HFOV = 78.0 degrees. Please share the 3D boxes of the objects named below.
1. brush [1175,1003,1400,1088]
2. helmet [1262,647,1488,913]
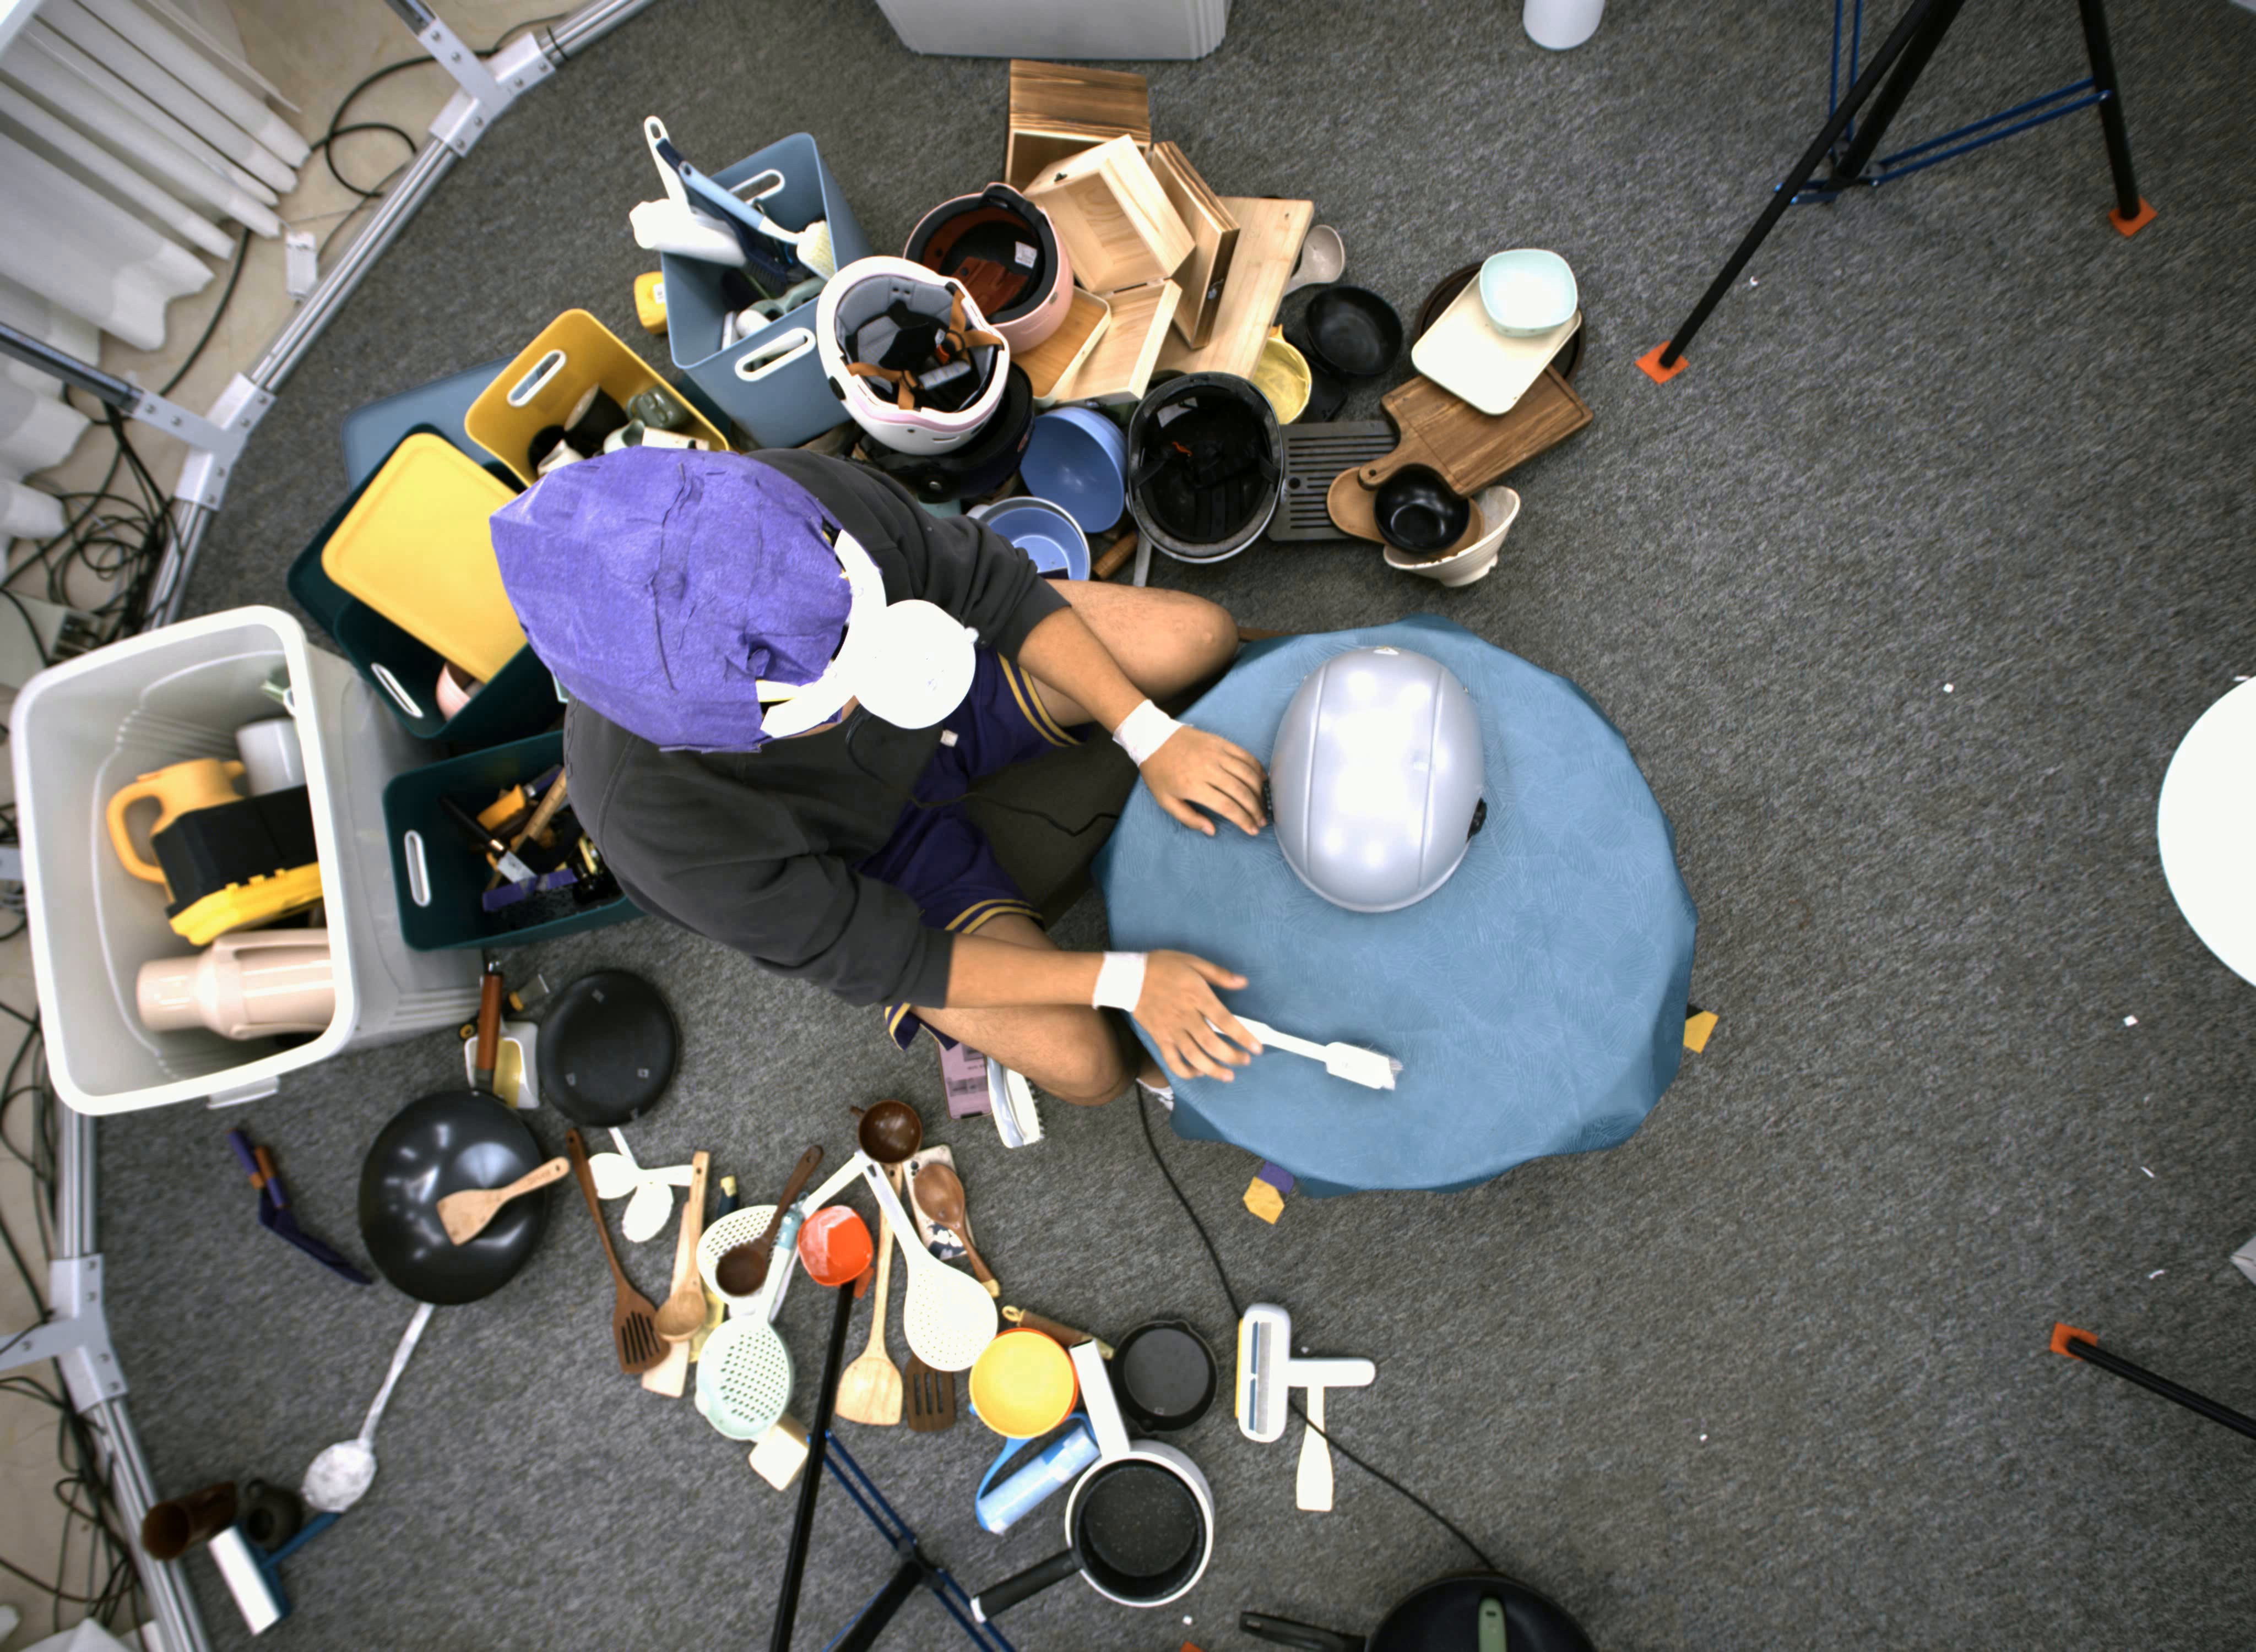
[{"bbox_3d":[0.165,0.227,1.459,0.244,0.050,0.034,13,87,24],"label":"brush"},{"bbox_3d":[0.248,-0.053,1.388,0.233,0.168,0.276,5,89,13],"label":"helmet"}]
